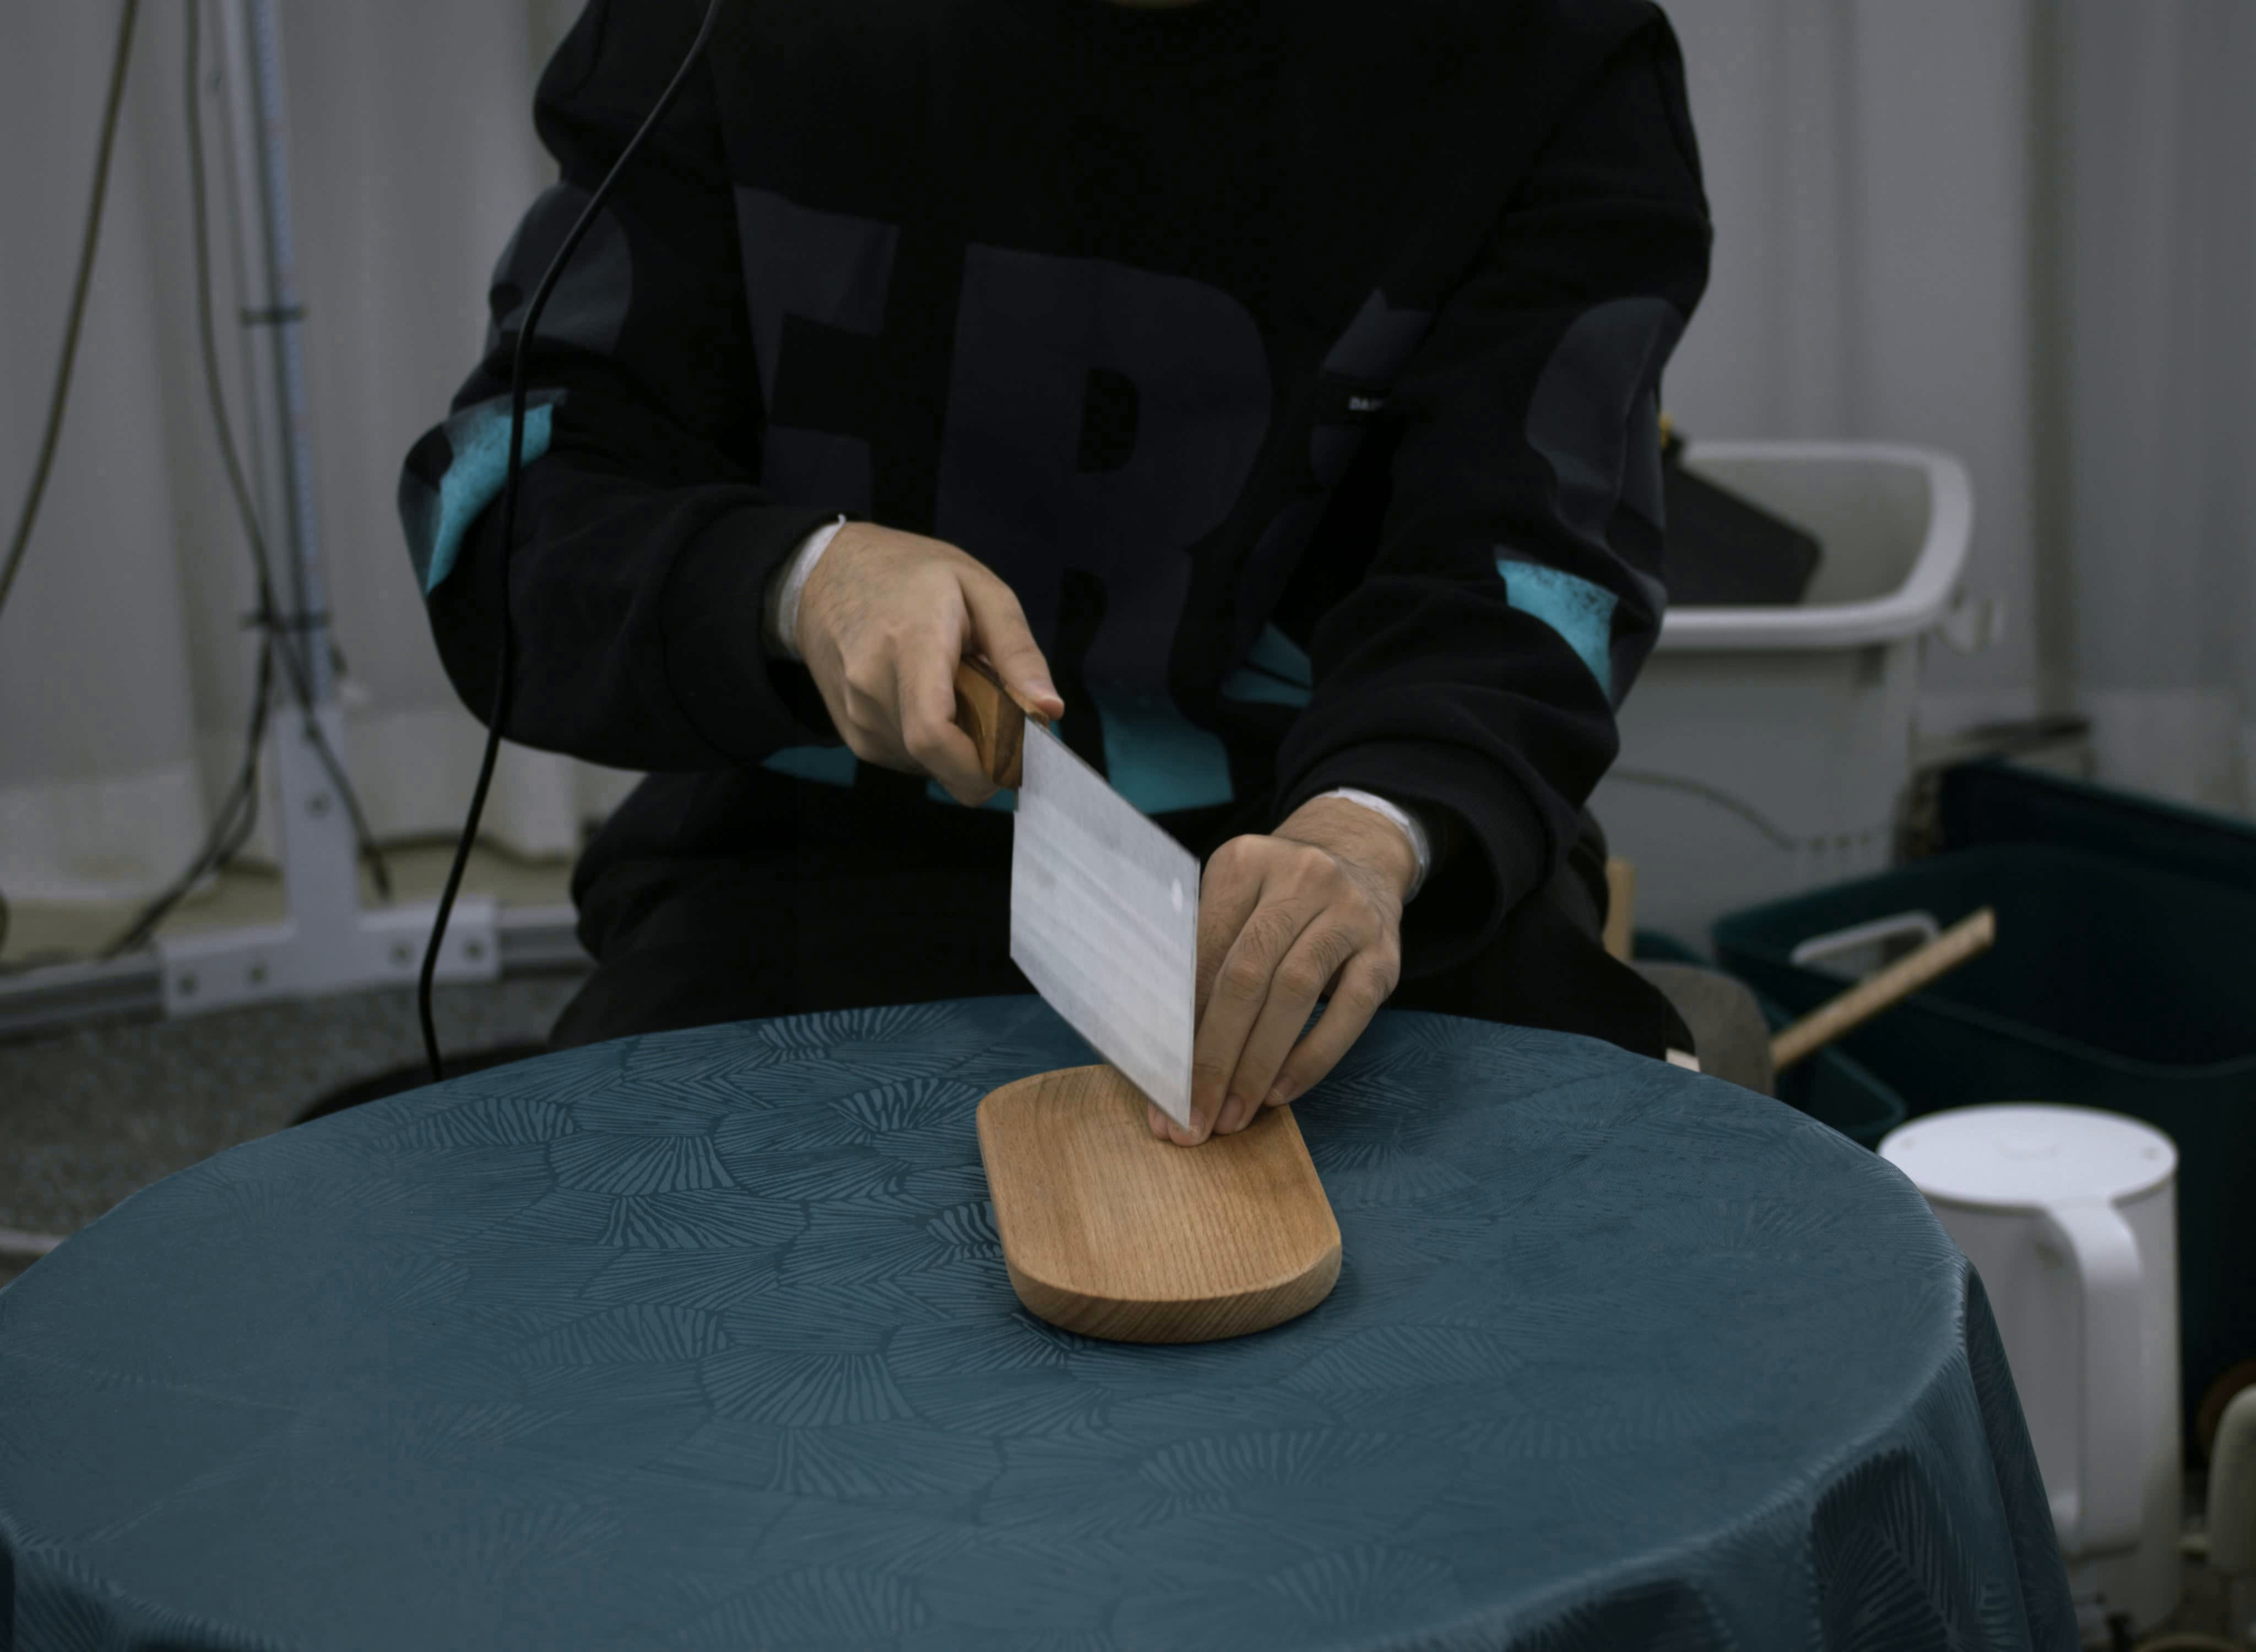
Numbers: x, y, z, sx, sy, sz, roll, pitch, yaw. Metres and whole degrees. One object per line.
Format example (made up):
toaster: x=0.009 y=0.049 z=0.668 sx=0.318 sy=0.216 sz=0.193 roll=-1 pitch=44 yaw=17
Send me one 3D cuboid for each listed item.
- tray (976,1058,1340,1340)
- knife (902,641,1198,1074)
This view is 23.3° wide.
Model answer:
tray: x=0.007 y=0.113 z=1.688 sx=0.101 sy=0.020 sz=0.233 roll=-3 pitch=14 yaw=-4
knife: x=-0.027 y=0.010 z=1.826 sx=0.021 sy=0.092 sz=0.308 roll=-3 pitch=16 yaw=-18
